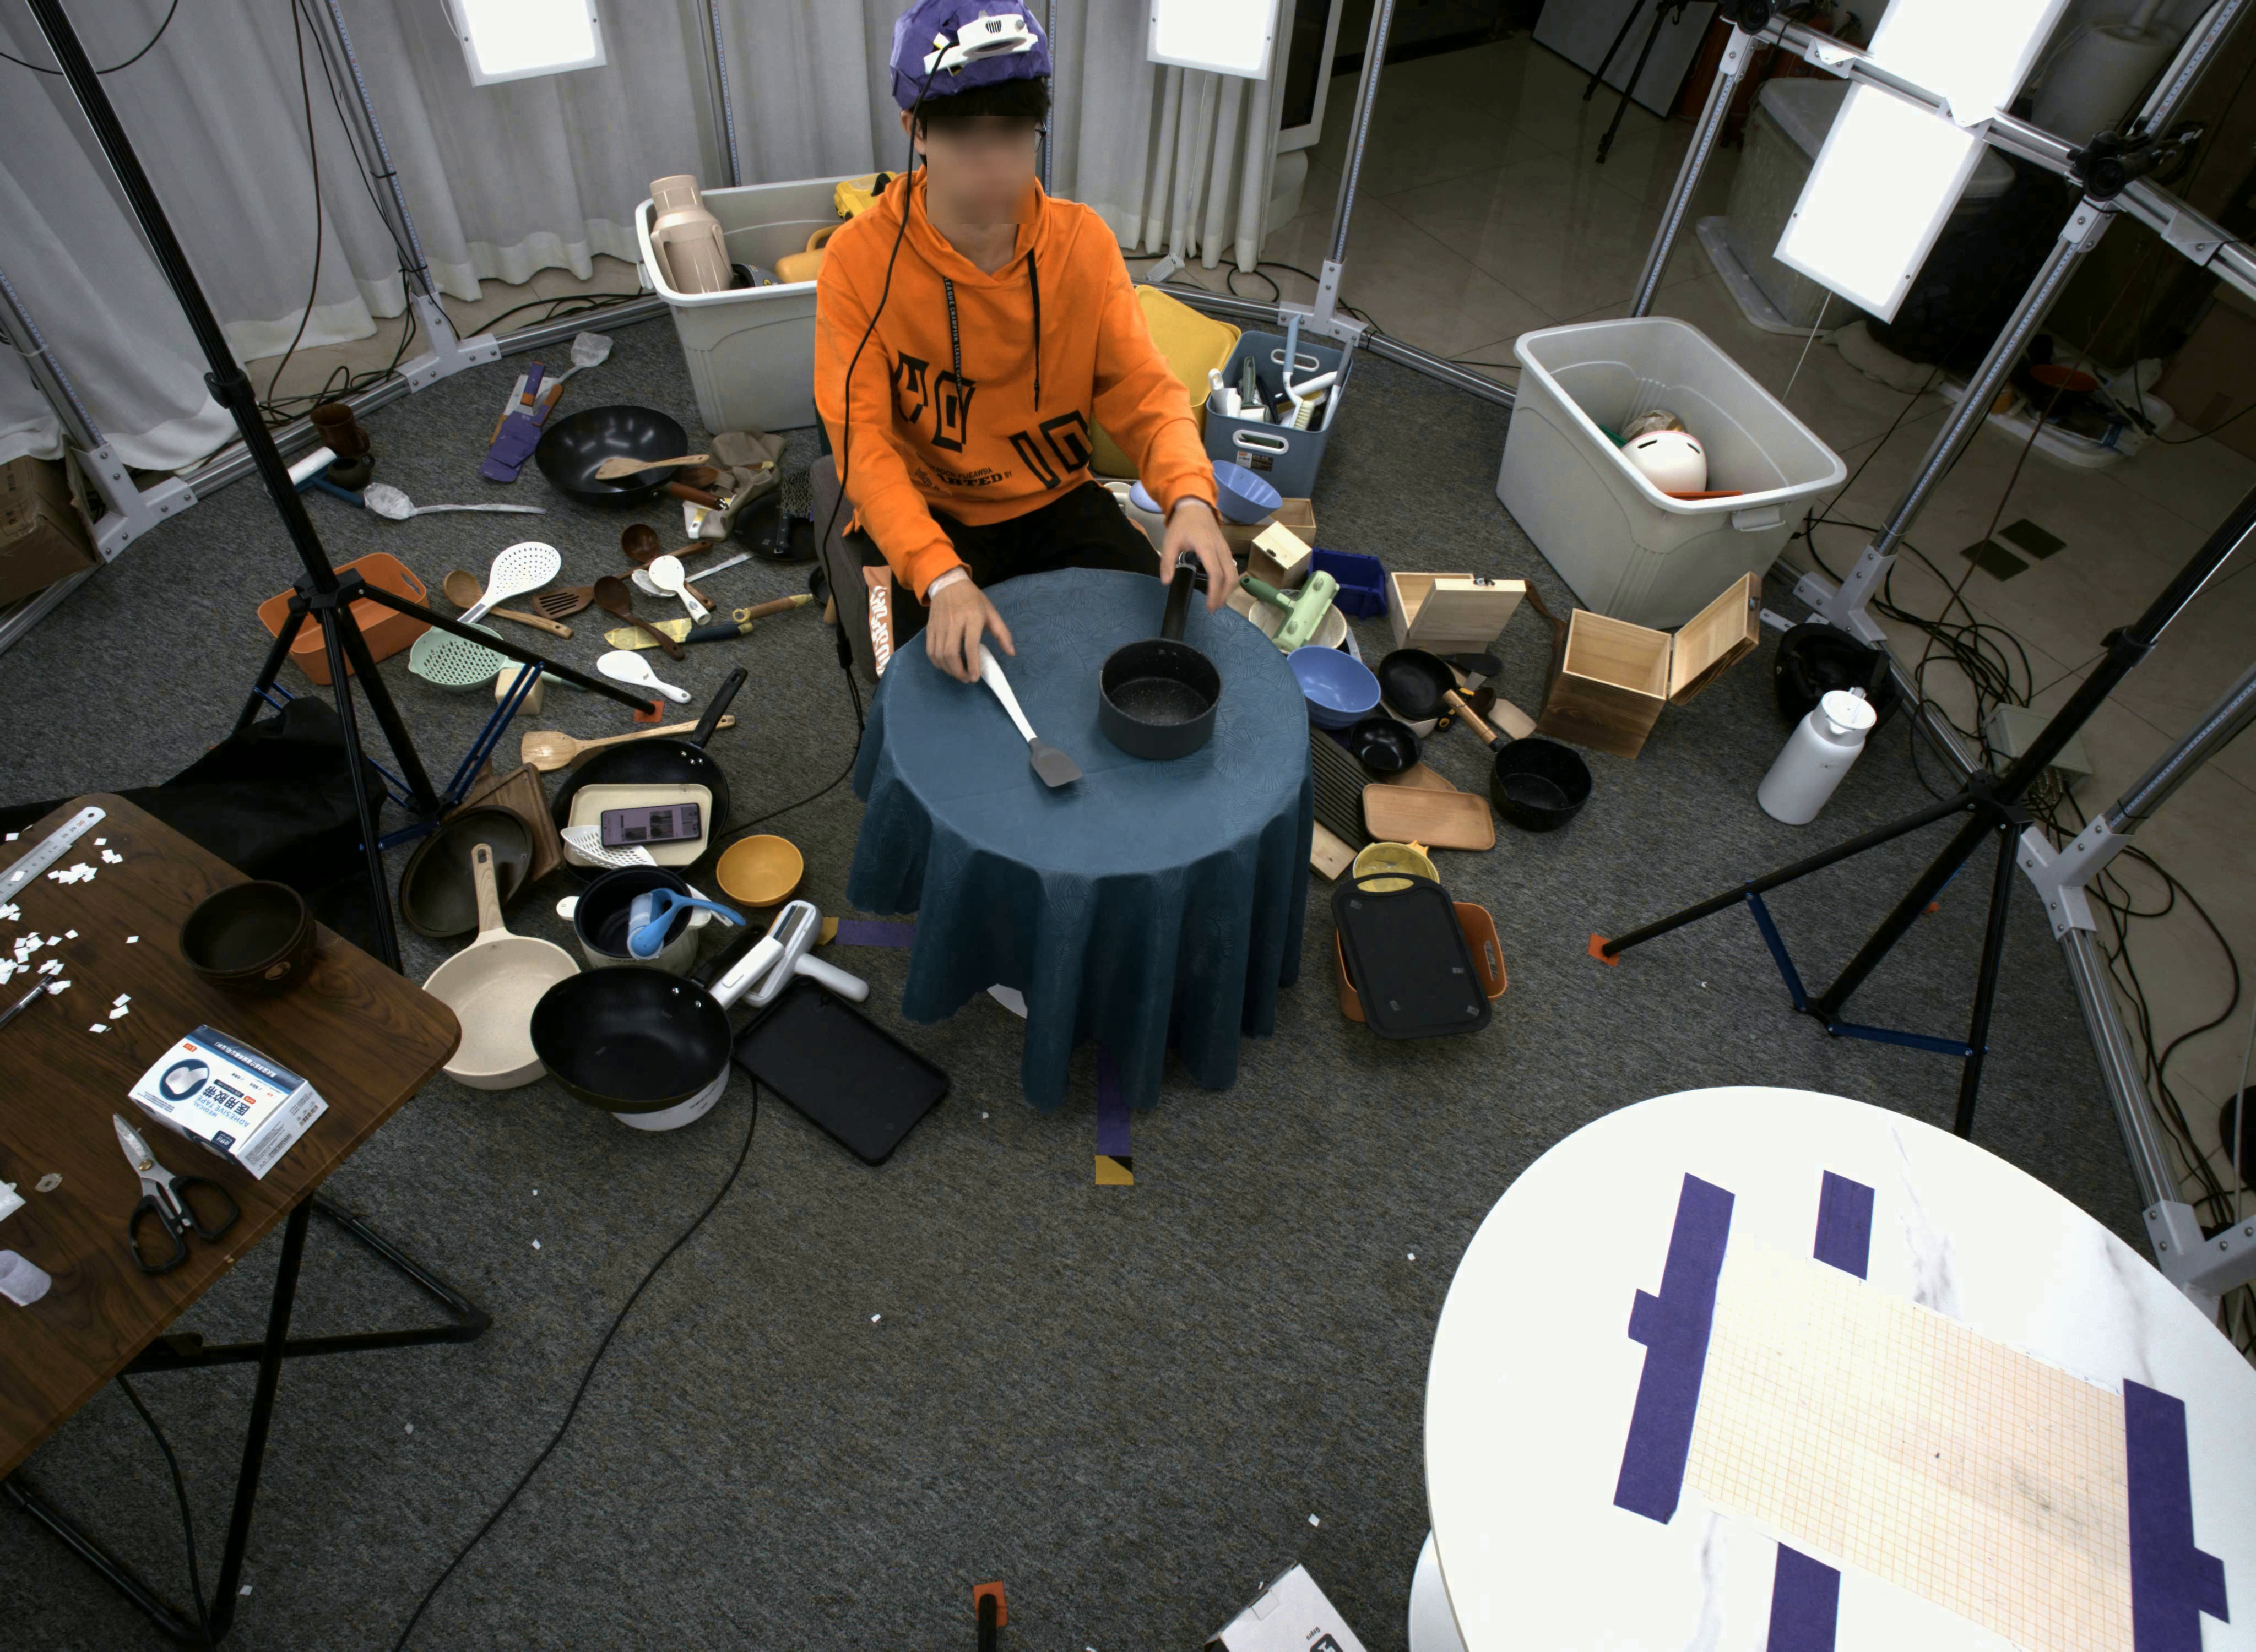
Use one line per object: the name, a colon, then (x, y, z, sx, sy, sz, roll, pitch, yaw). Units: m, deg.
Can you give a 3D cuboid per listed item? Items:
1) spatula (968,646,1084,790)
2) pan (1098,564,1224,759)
spatula: (-0.147, -0.148, 1.767, 0.059, 0.031, 0.294, -17, 52, -24)
pan: (0.059, -0.237, 1.824, 0.172, 0.084, 0.336, 12, 51, 5)
